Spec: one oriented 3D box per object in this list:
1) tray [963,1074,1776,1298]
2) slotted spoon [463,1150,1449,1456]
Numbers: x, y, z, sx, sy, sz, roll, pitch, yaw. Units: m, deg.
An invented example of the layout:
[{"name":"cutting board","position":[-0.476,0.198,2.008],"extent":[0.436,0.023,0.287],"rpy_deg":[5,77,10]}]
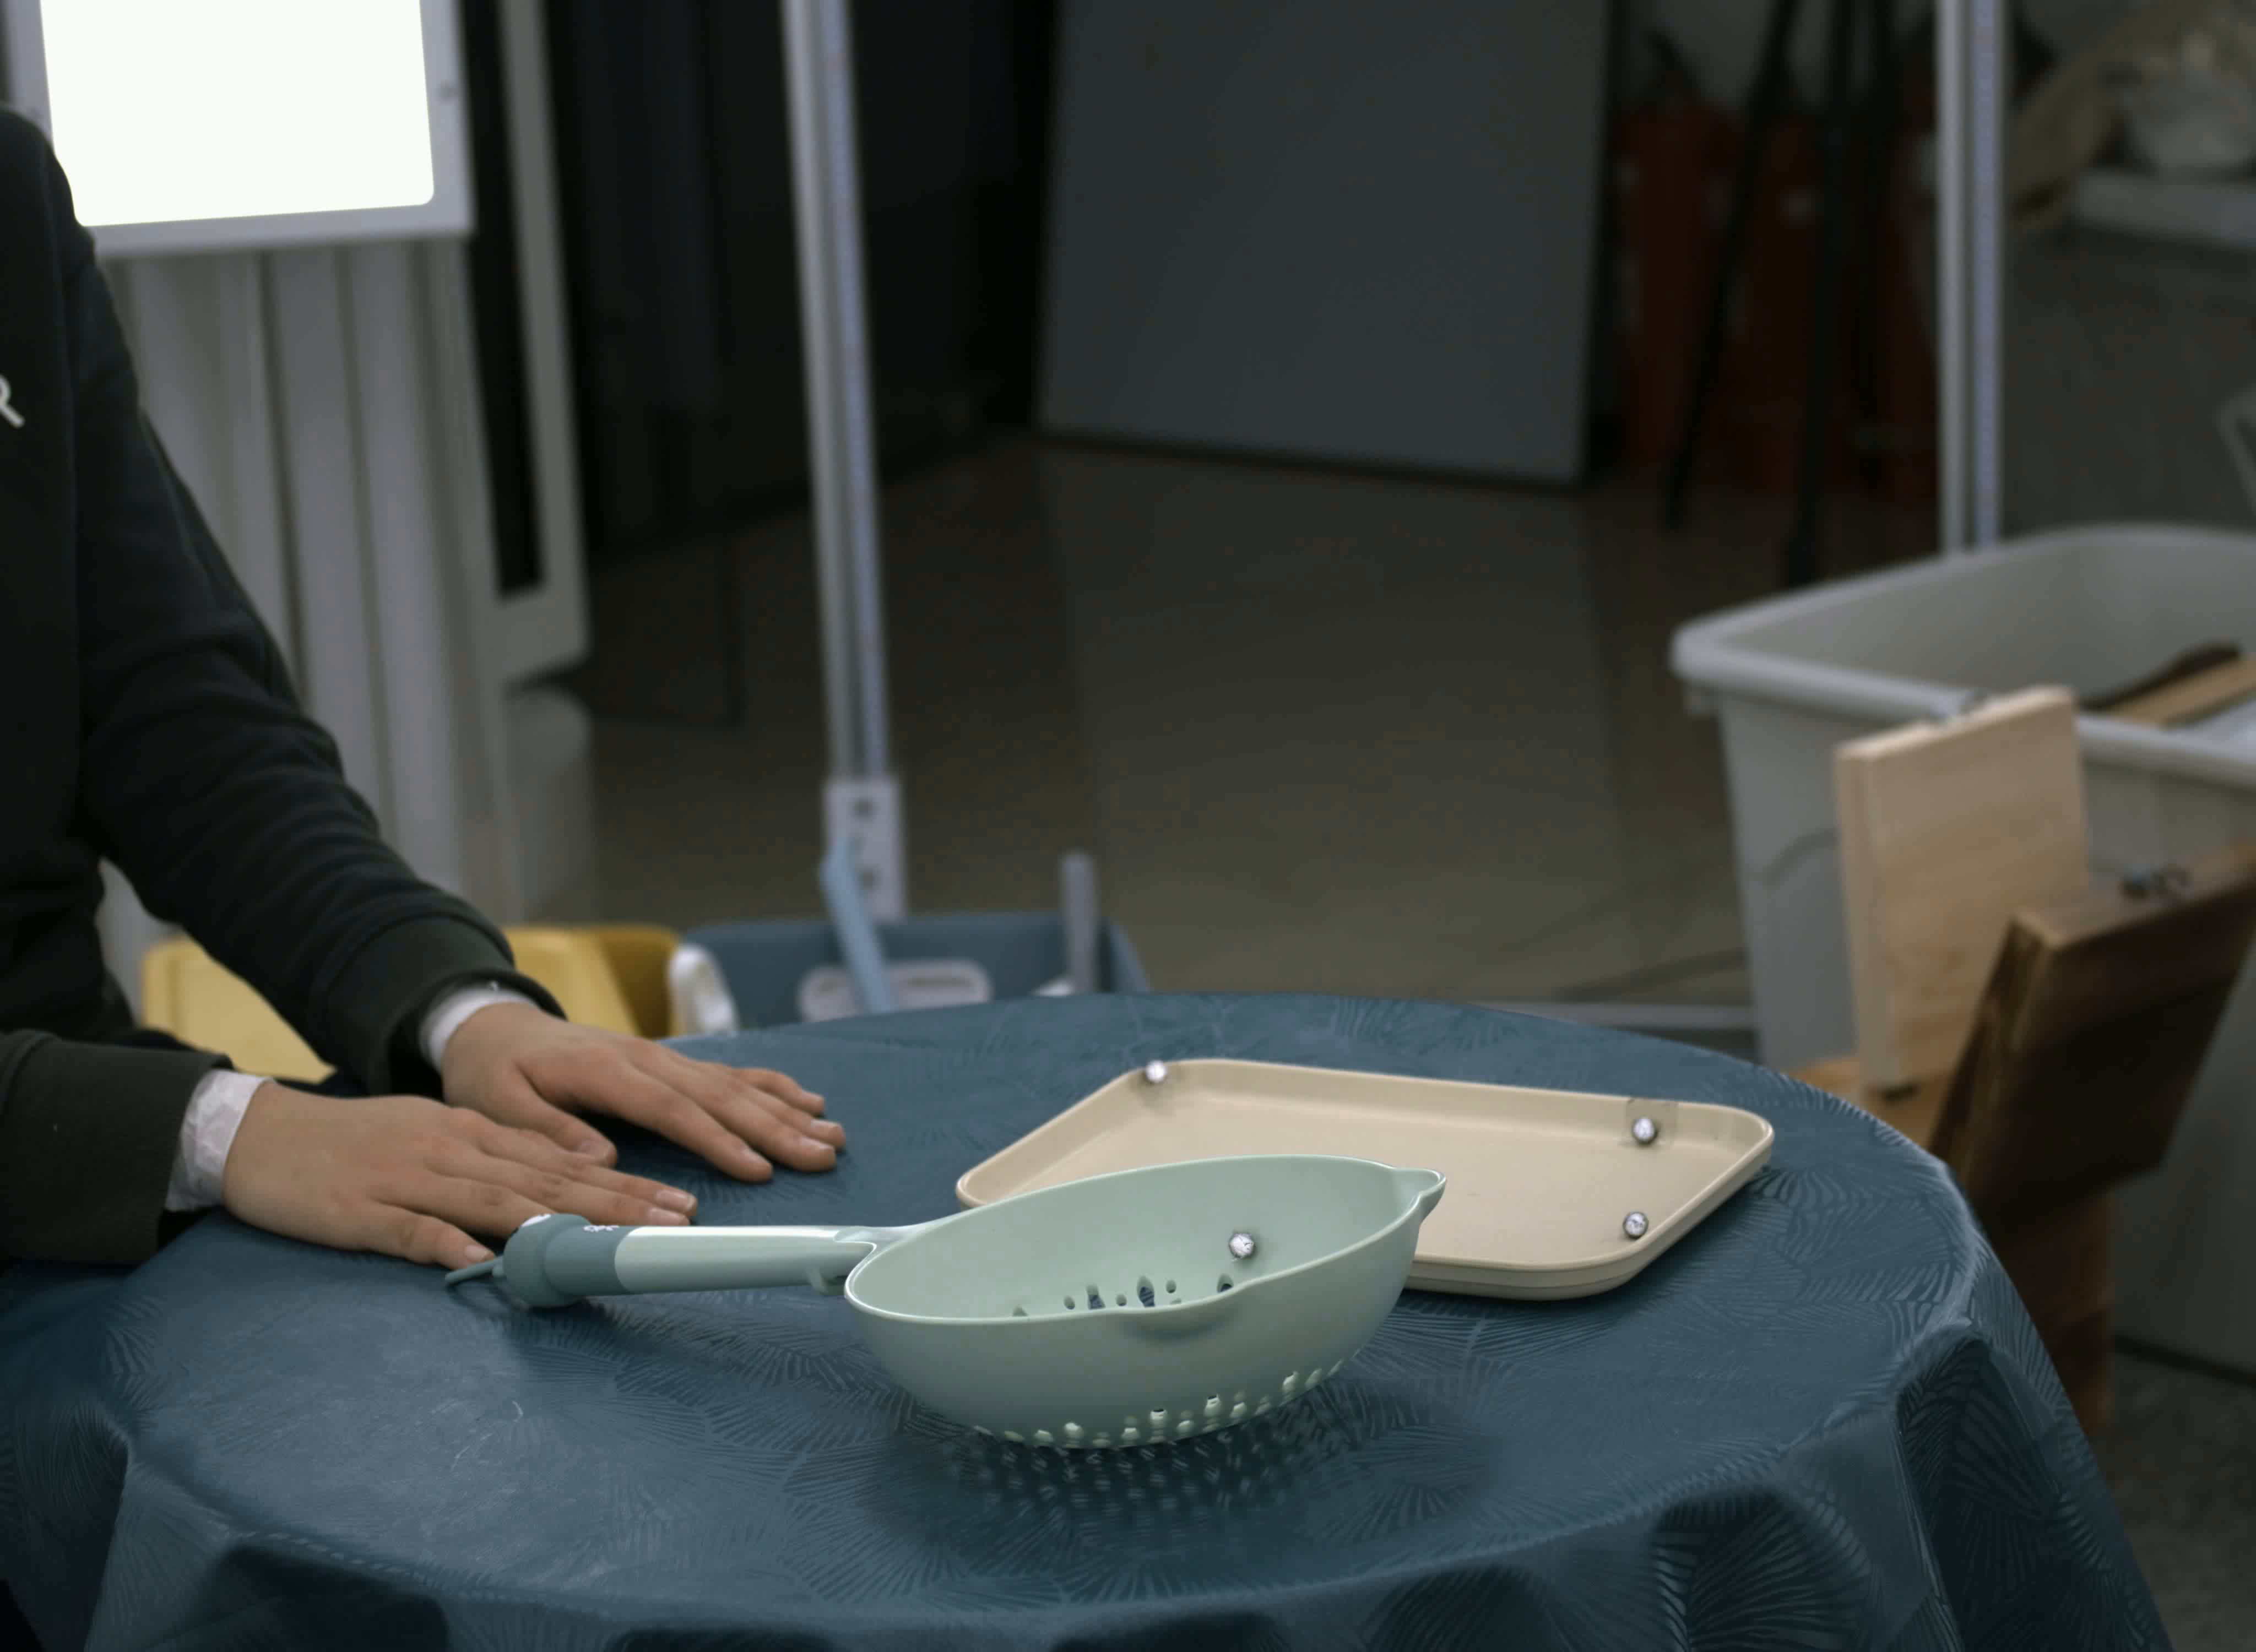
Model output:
[{"name":"tray","position":[0.079,0.116,1.737],"extent":[0.240,0.017,0.169],"rpy_deg":[2,15,28]},{"name":"slotted spoon","position":[-0.071,0.134,1.608],"extent":[0.361,0.076,0.166],"rpy_deg":[6,16,38]}]
